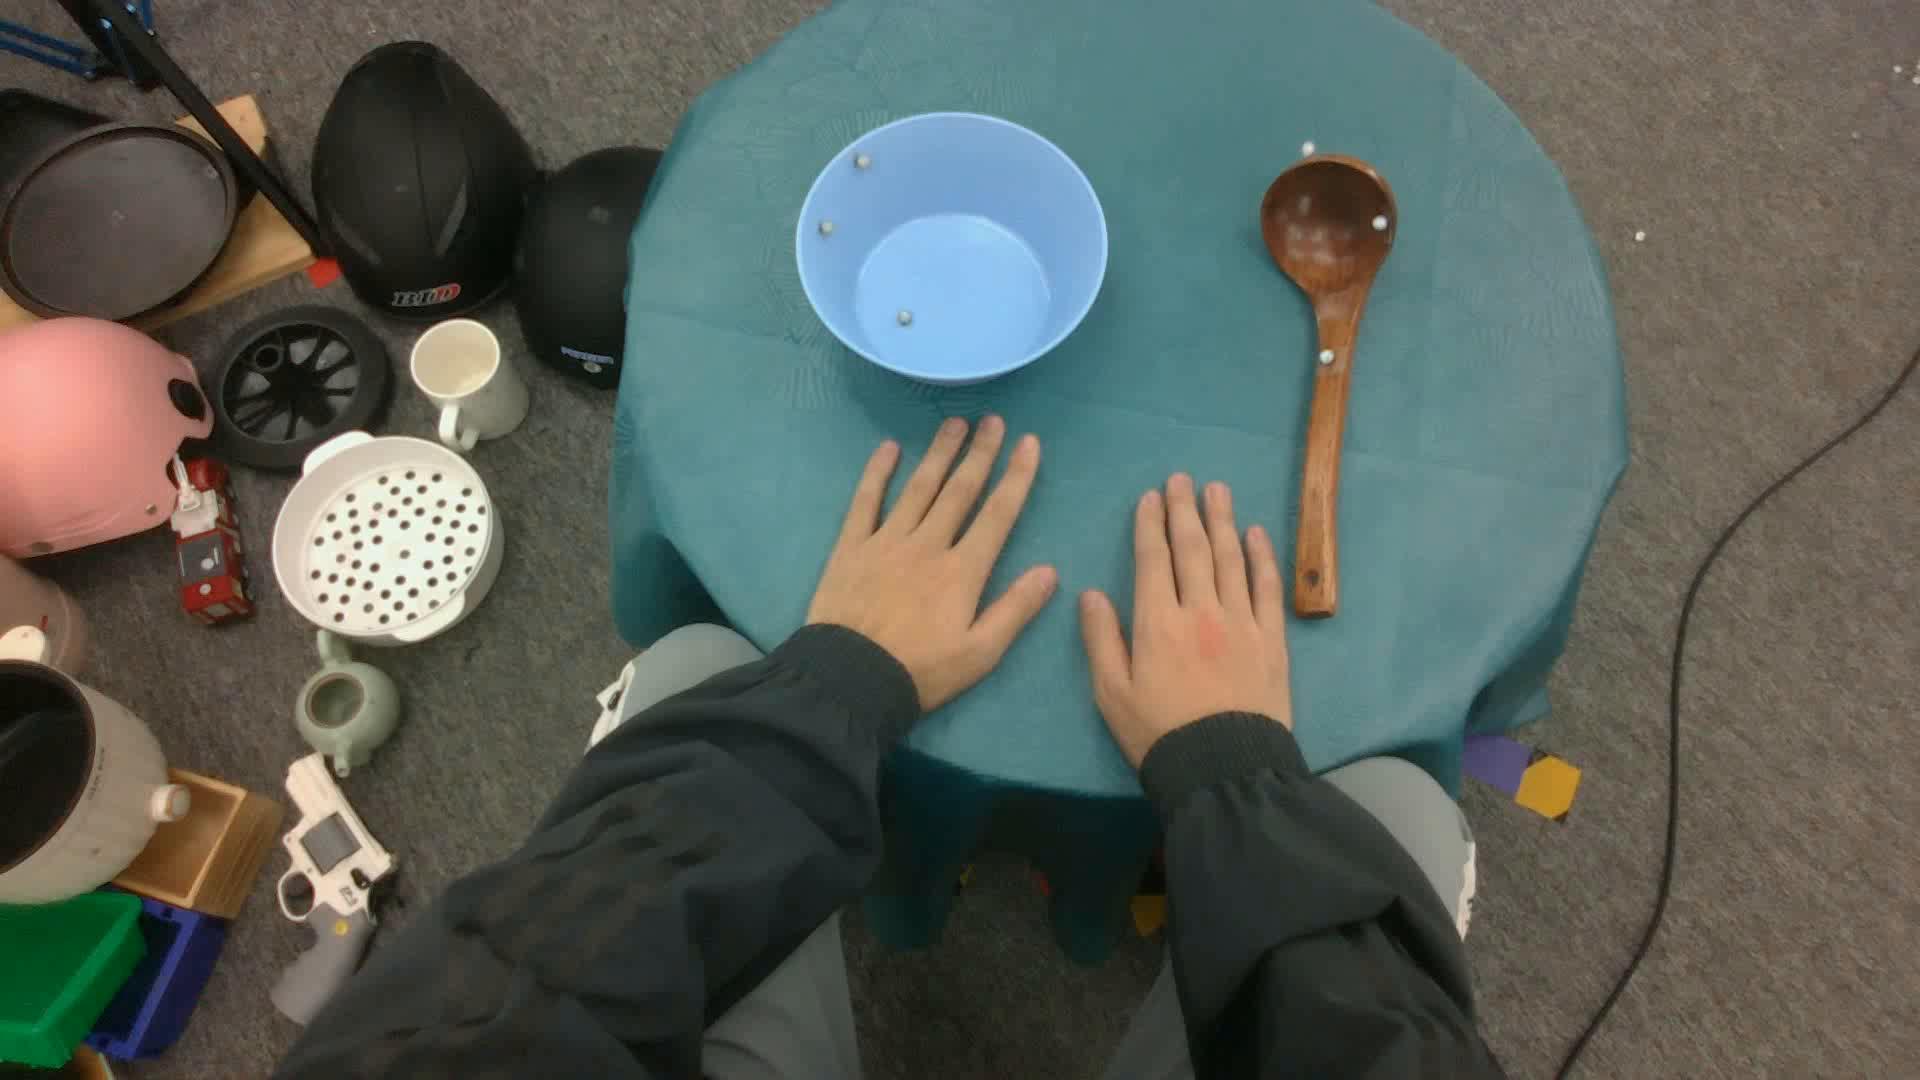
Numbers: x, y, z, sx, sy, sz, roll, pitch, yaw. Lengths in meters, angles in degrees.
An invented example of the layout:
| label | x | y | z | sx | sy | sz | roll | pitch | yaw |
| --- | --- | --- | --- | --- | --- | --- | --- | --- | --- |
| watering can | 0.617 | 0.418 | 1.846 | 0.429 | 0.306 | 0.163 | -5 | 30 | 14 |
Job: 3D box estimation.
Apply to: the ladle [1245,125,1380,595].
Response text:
| label | x | y | z | sx | sy | sz | roll | pitch | yaw |
| --- | --- | --- | --- | --- | --- | --- | --- | --- | --- |
| ladle | 0.194 | -0.109 | 0.790 | 0.081 | 0.076 | 0.275 | -10 | 62 | 46 |

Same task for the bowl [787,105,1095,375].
| label | x | y | z | sx | sy | sz | roll | pitch | yaw |
| --- | --- | --- | --- | --- | --- | --- | --- | --- | --- |
| bowl | -0.010 | -0.164 | 0.813 | 0.176 | 0.070 | 0.176 | 0 | 69 | 1 |
